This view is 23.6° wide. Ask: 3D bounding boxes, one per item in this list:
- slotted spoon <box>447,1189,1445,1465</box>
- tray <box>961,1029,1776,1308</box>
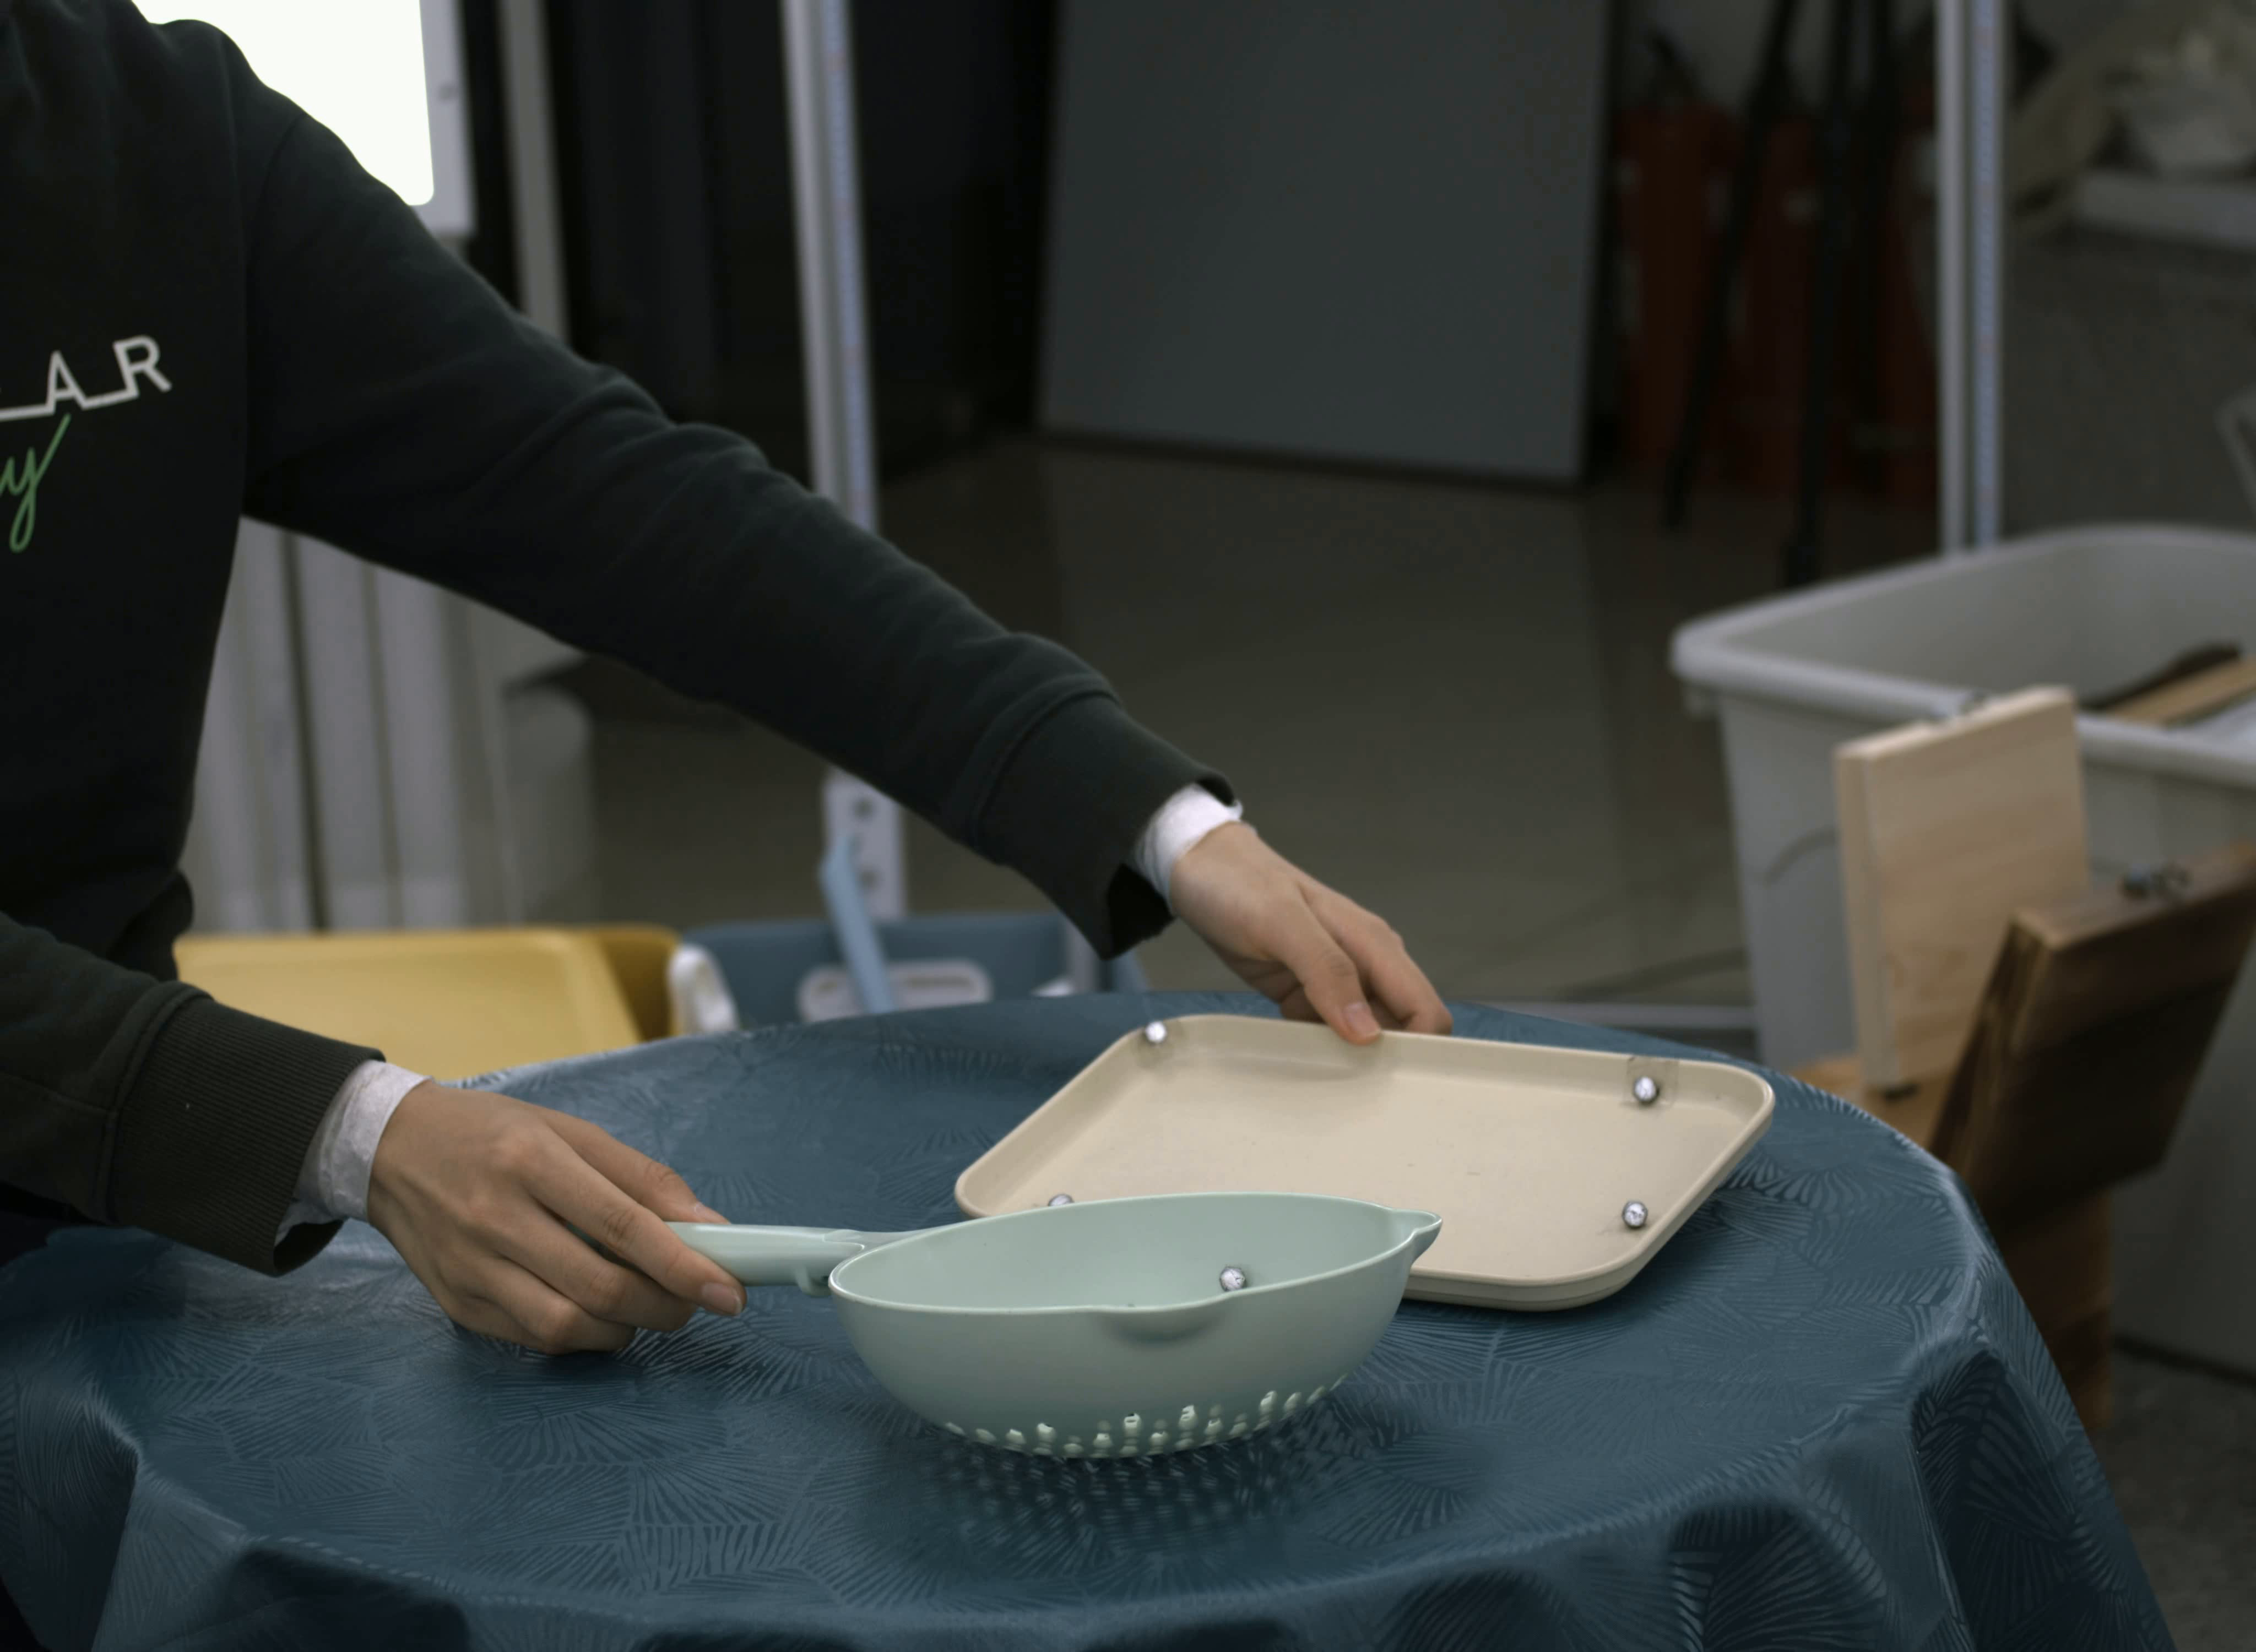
[{"bbox_3d":[-0.074,0.135,1.597,0.361,0.076,0.166,9,12,39],"label":"slotted spoon"},{"bbox_3d":[0.078,0.109,1.729,0.240,0.017,0.169,2,22,29],"label":"tray"}]
